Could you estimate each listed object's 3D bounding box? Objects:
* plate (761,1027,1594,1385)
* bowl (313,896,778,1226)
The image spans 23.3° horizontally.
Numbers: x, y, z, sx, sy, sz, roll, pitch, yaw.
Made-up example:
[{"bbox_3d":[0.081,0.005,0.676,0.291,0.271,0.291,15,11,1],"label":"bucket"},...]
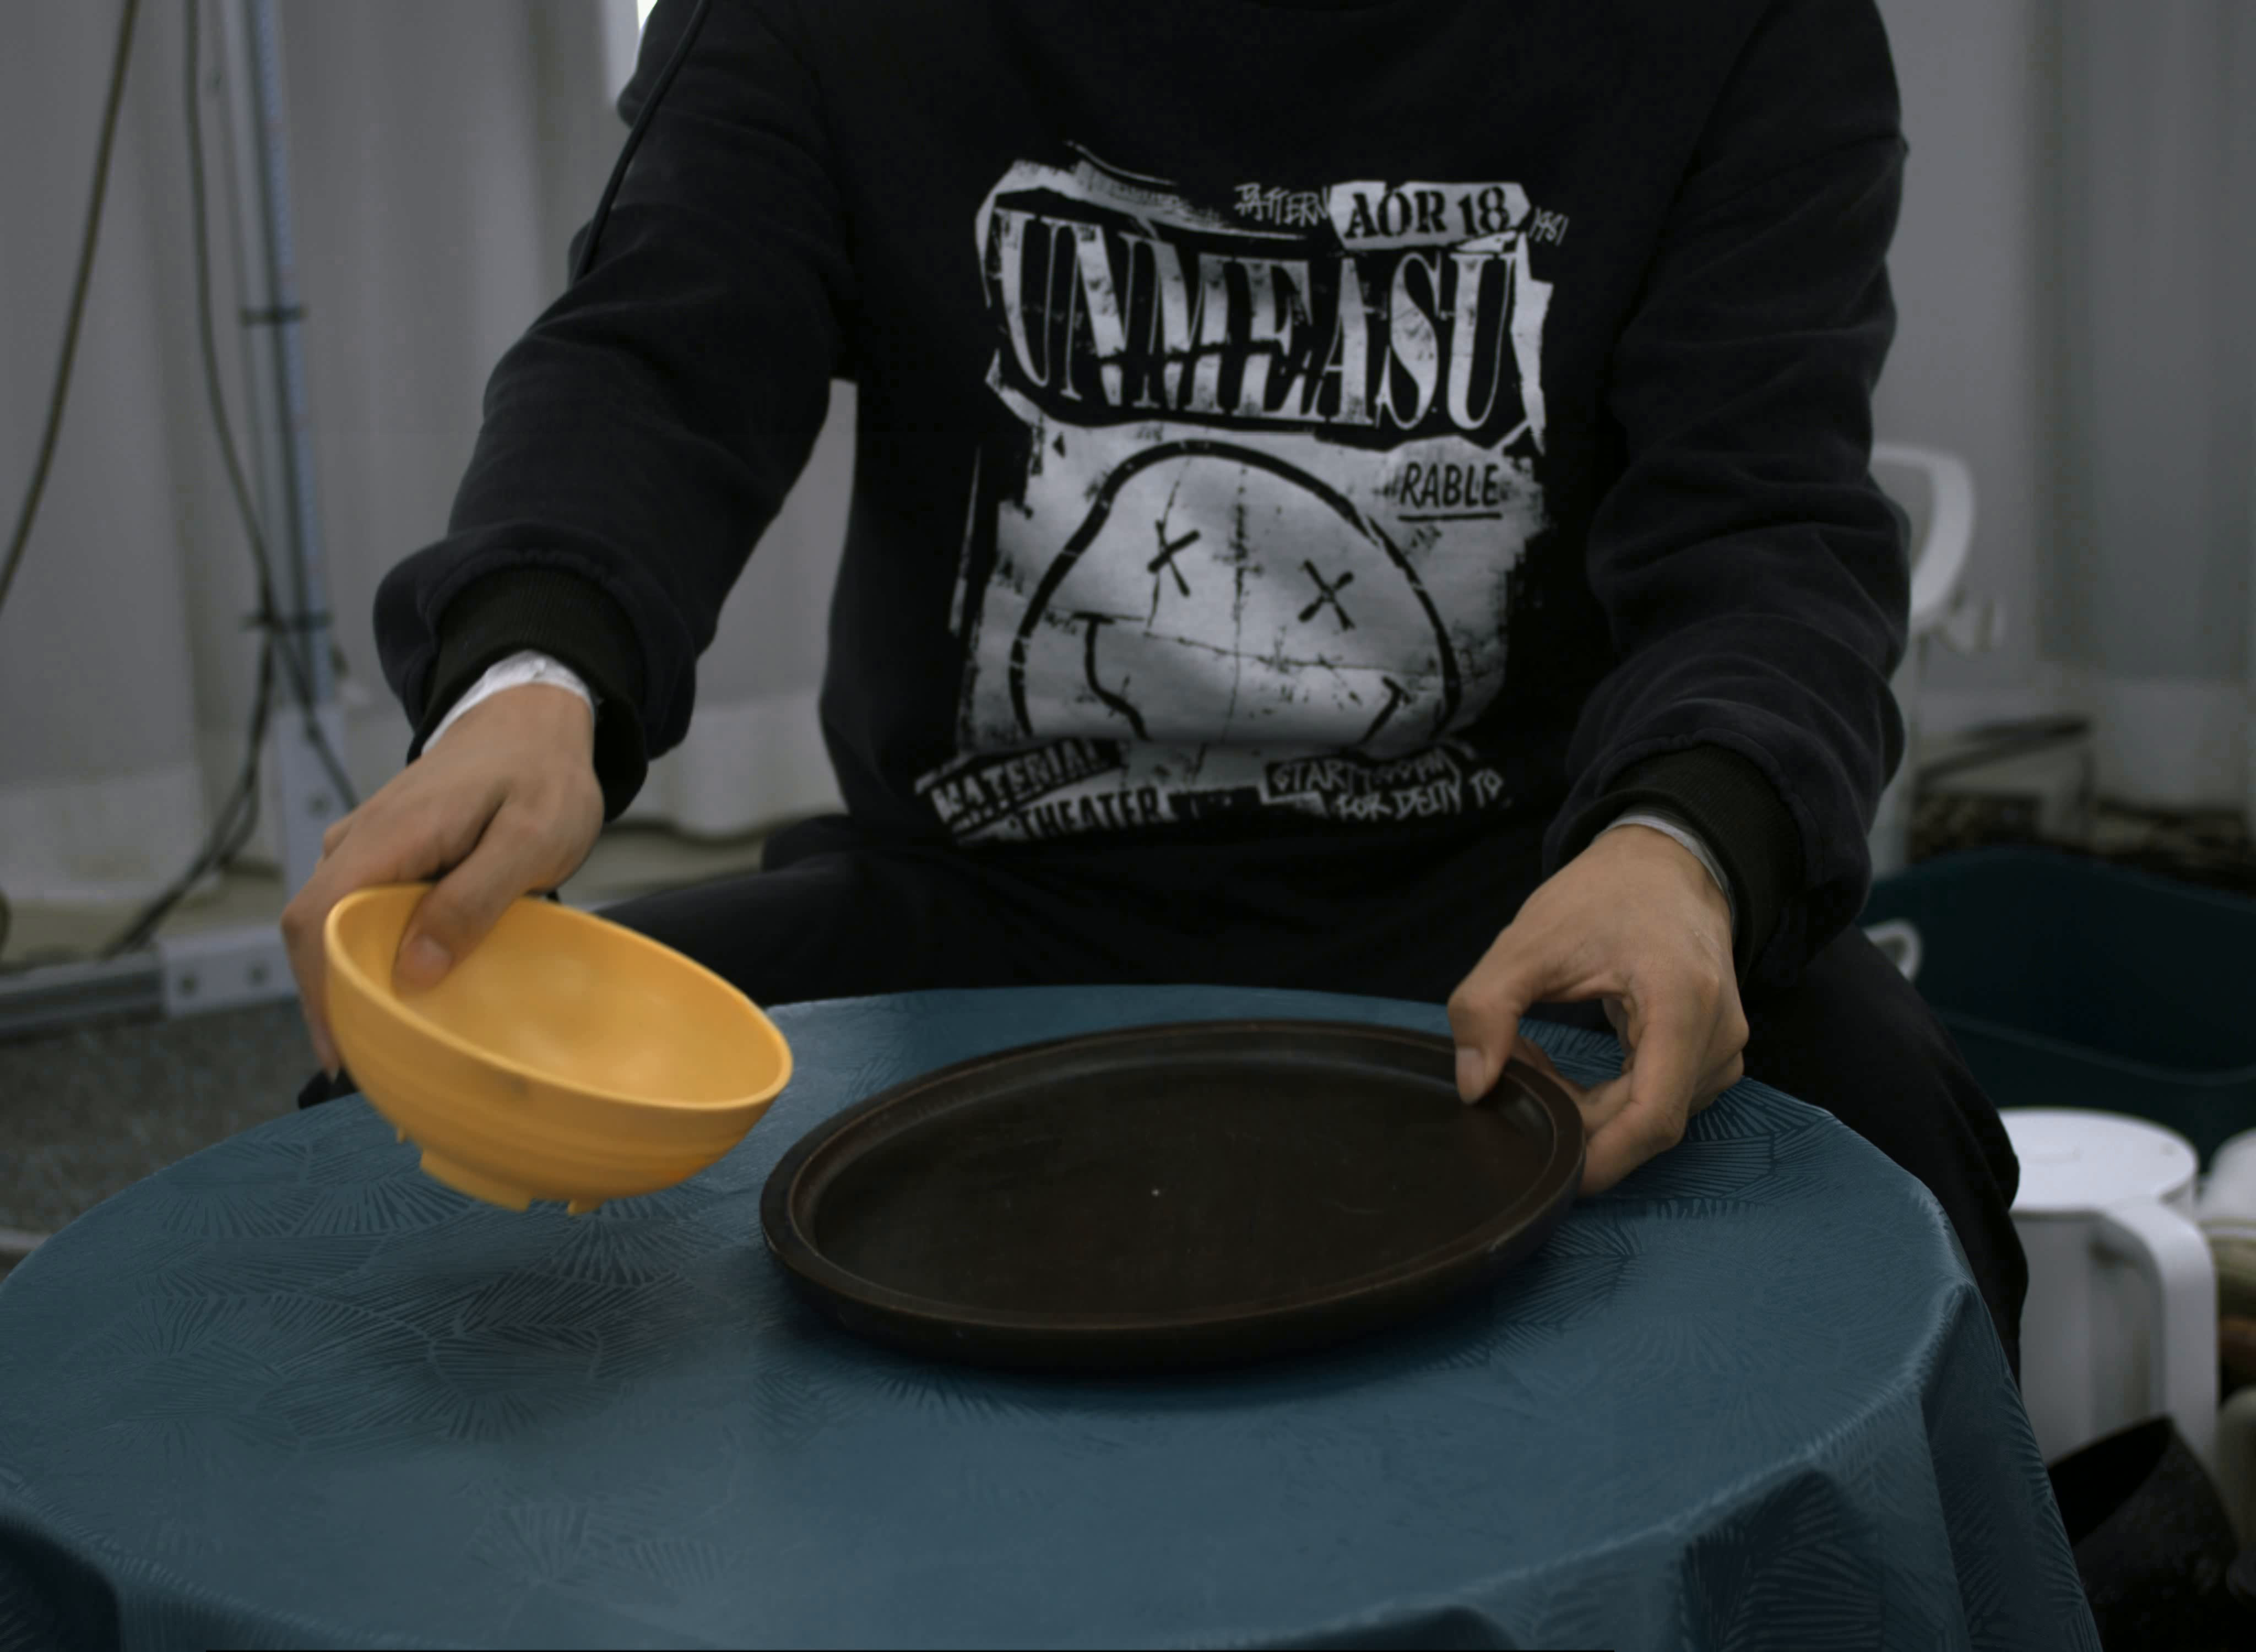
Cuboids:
[{"bbox_3d":[0.015,0.113,1.654,0.254,0.029,0.256,-6,16,1],"label":"plate"},{"bbox_3d":[-0.181,0.078,1.625,0.145,0.060,0.146,19,14,-5],"label":"bowl"}]
